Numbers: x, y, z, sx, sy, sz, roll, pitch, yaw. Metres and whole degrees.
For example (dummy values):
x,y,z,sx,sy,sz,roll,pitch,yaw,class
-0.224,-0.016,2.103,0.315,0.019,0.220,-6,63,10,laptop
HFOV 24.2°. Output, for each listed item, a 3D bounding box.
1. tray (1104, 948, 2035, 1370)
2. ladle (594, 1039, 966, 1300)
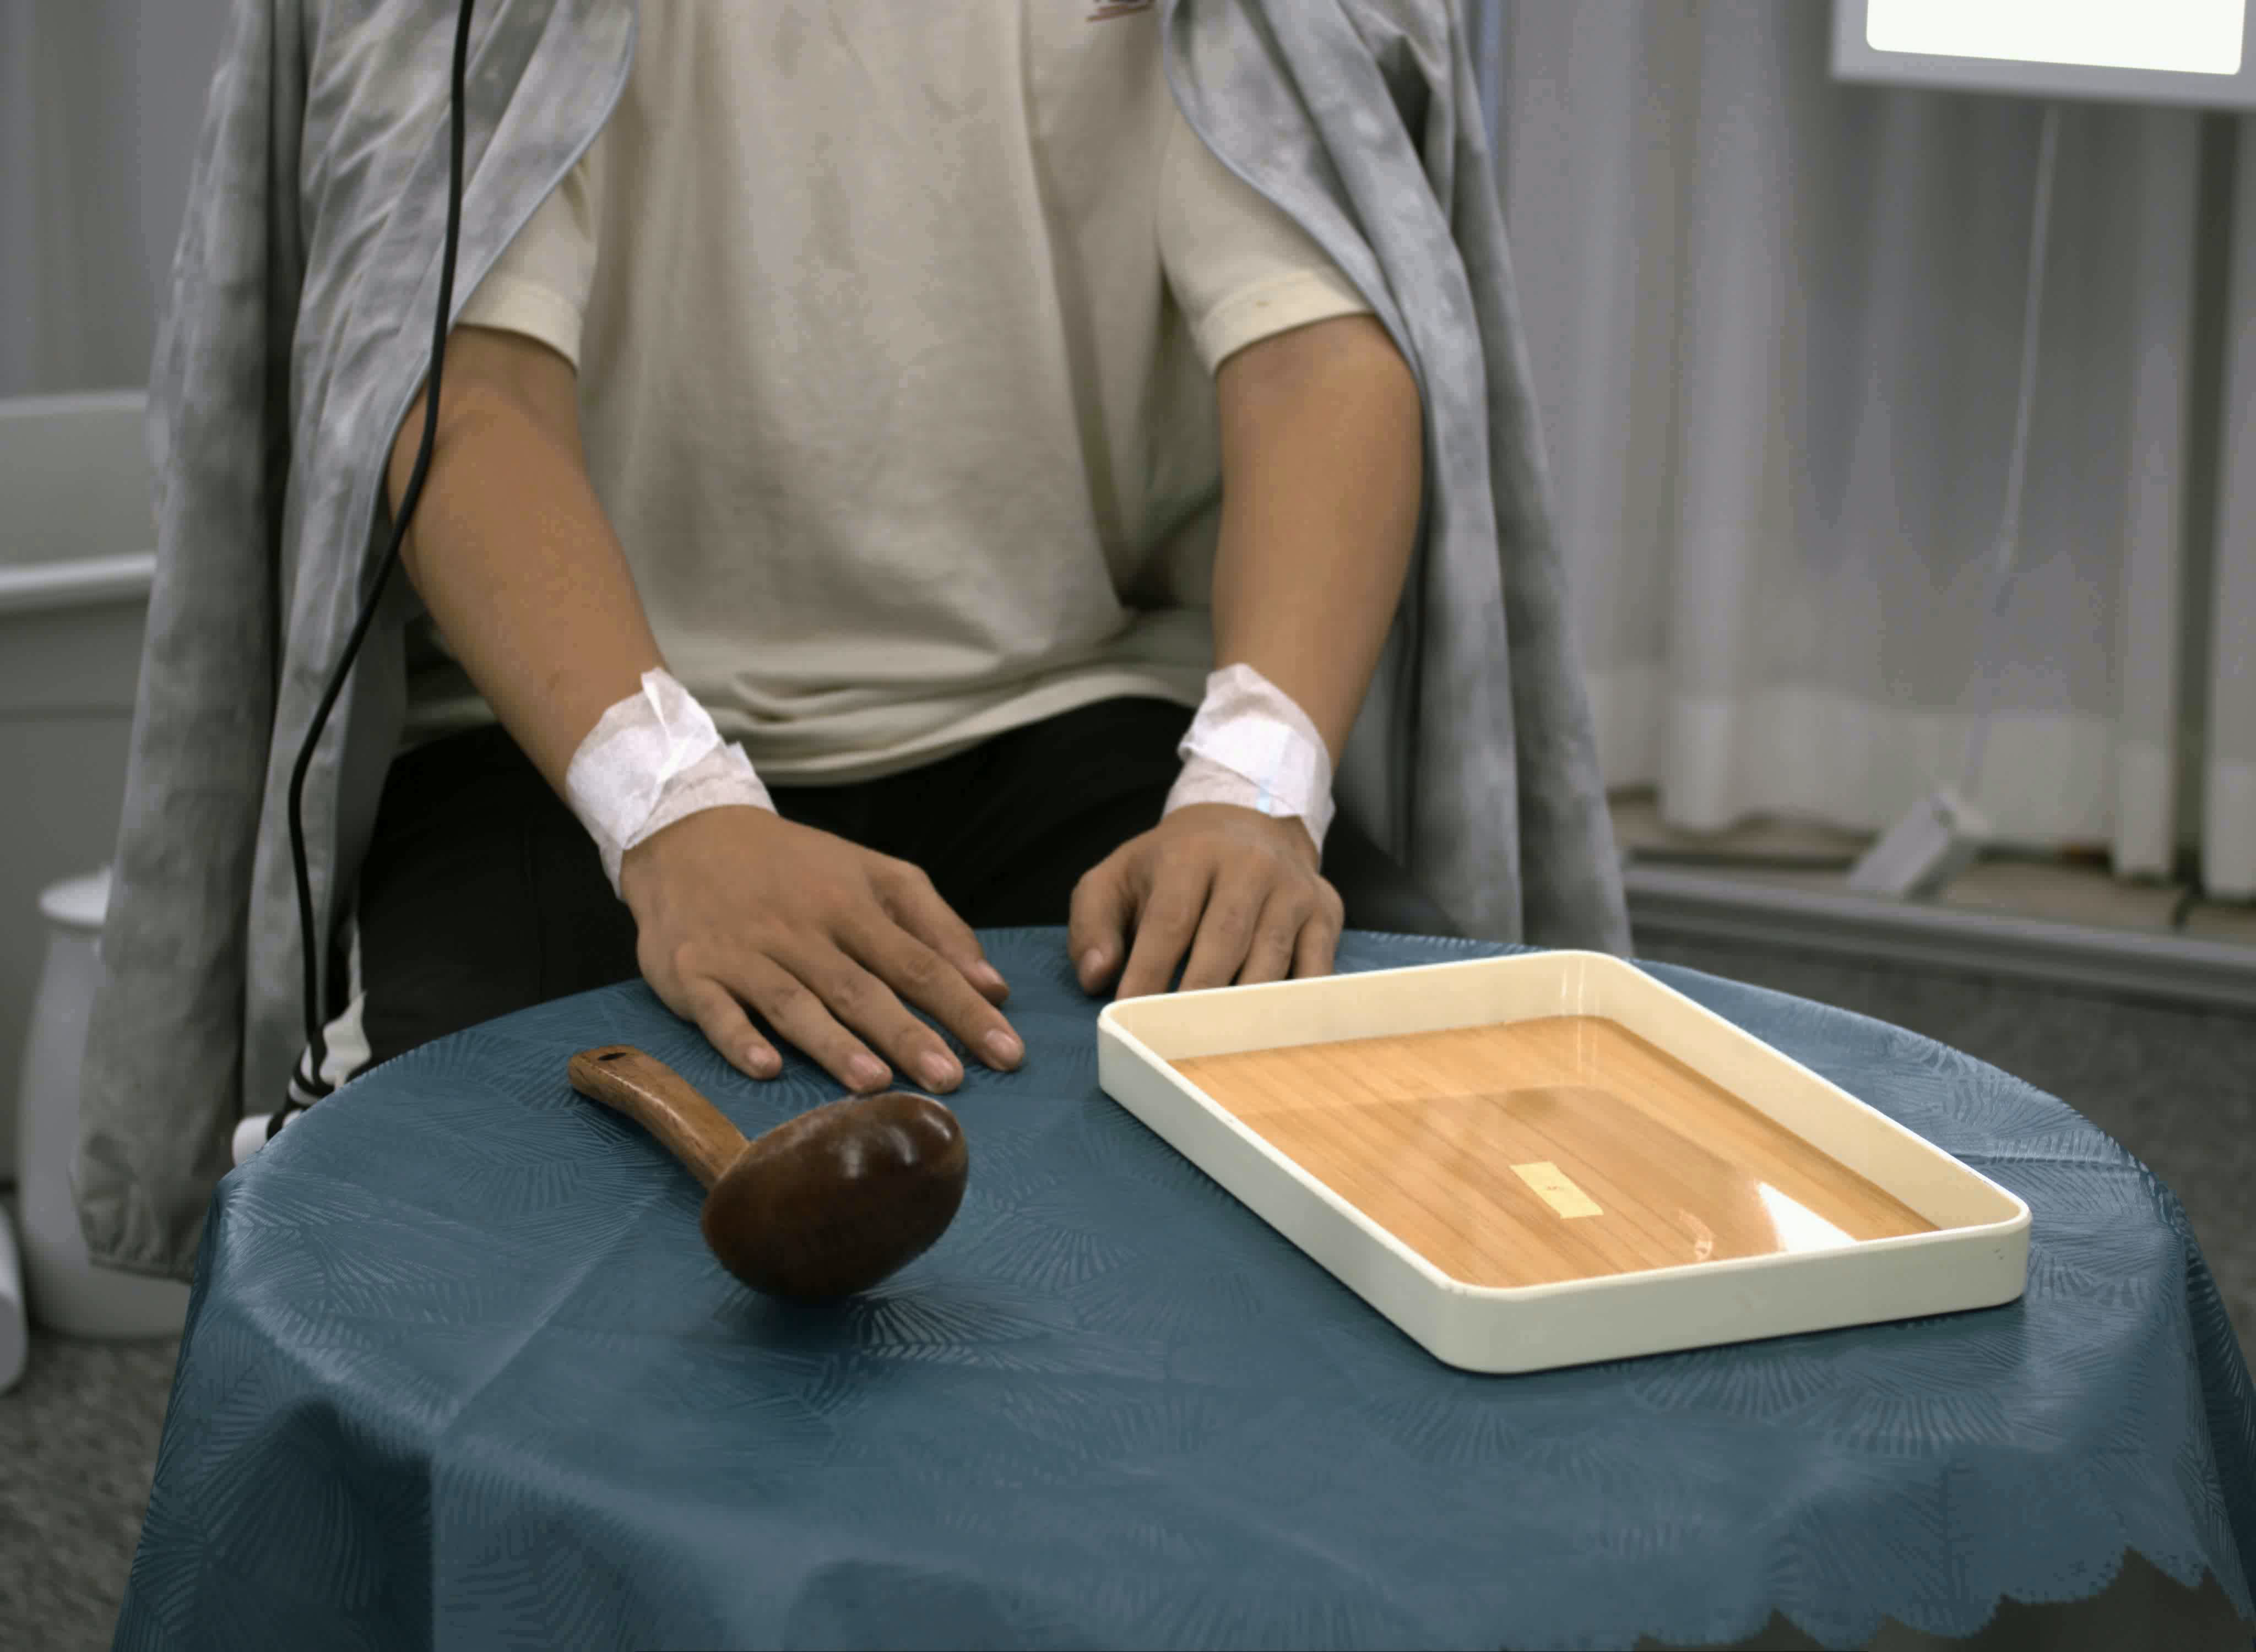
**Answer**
x,y,z,sx,sy,sz,roll,pitch,yaw,class
0.128,0.098,1.631,0.192,0.027,0.297,-6,17,-21,tray
-0.123,0.080,1.594,0.082,0.077,0.271,-10,18,-19,ladle
